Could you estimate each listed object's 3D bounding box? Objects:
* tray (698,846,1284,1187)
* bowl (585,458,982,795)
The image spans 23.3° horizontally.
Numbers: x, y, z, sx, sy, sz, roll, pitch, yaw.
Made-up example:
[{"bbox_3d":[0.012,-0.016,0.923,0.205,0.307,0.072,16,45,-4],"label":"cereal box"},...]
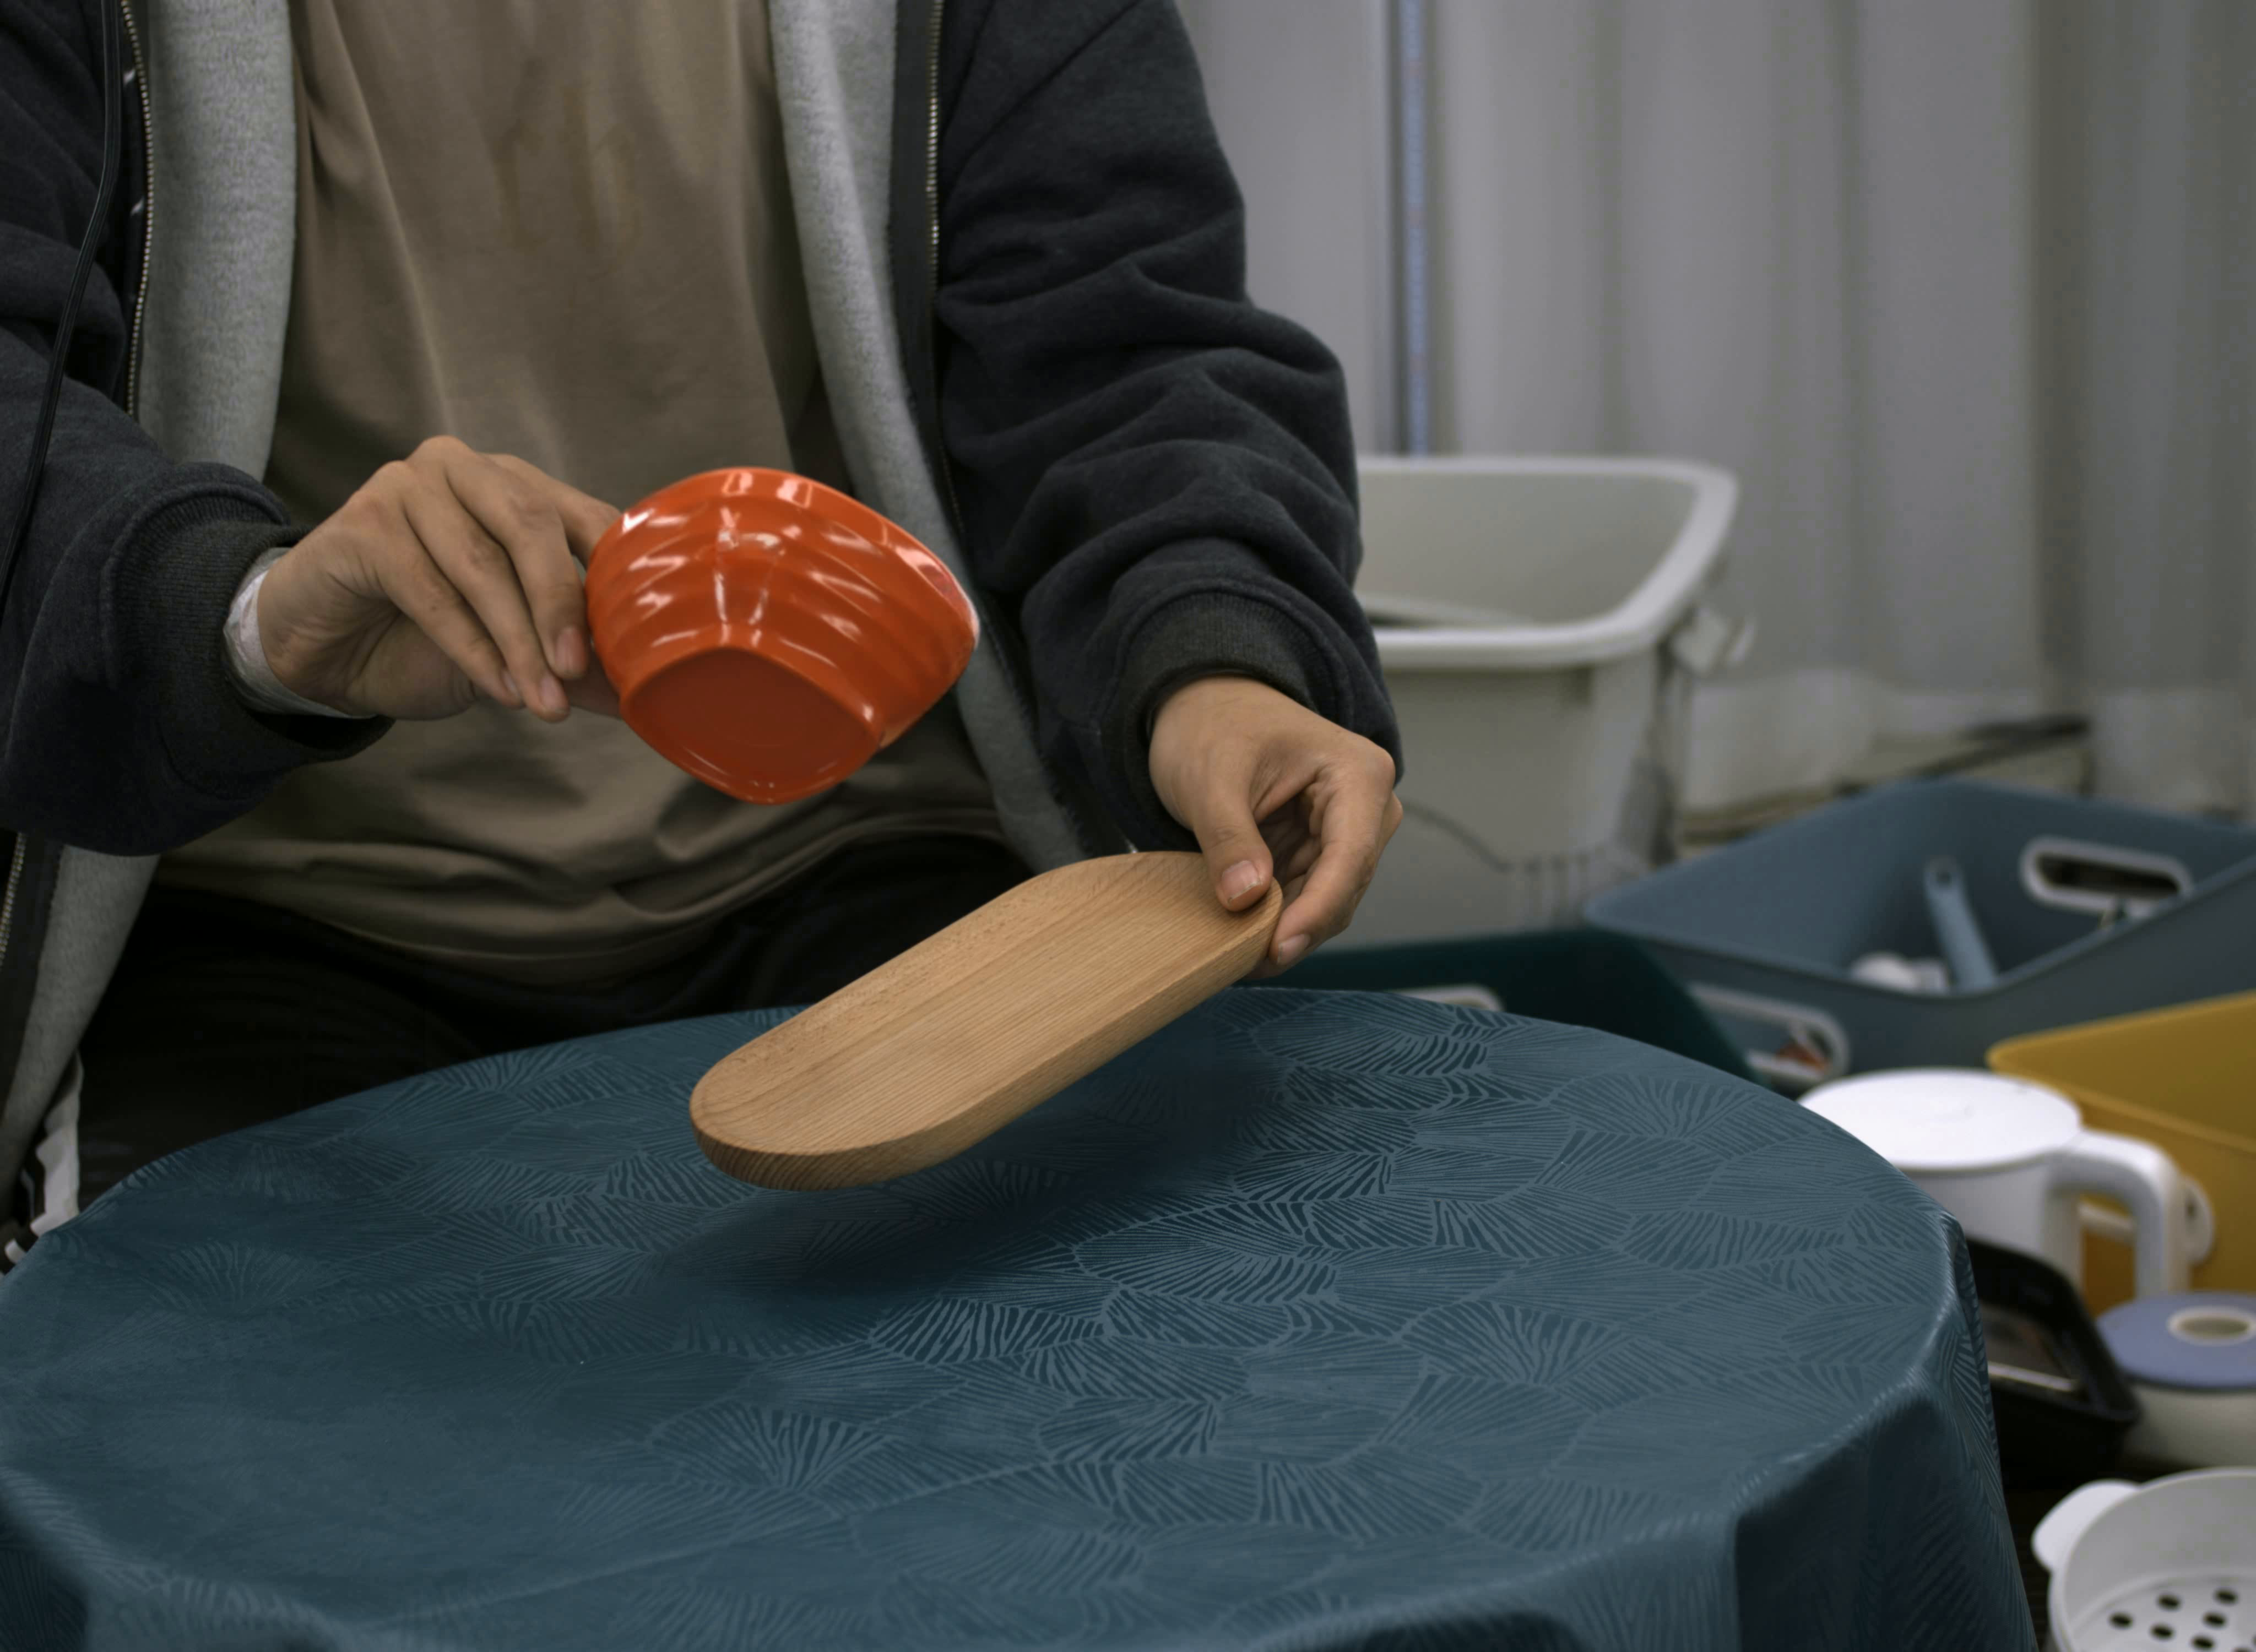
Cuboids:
[{"bbox_3d":[-0.040,0.057,1.709,0.102,0.020,0.231,10,28,38],"label":"tray"},{"bbox_3d":[-0.105,-0.051,1.602,0.119,0.117,0.052,2,54,16],"label":"bowl"}]
